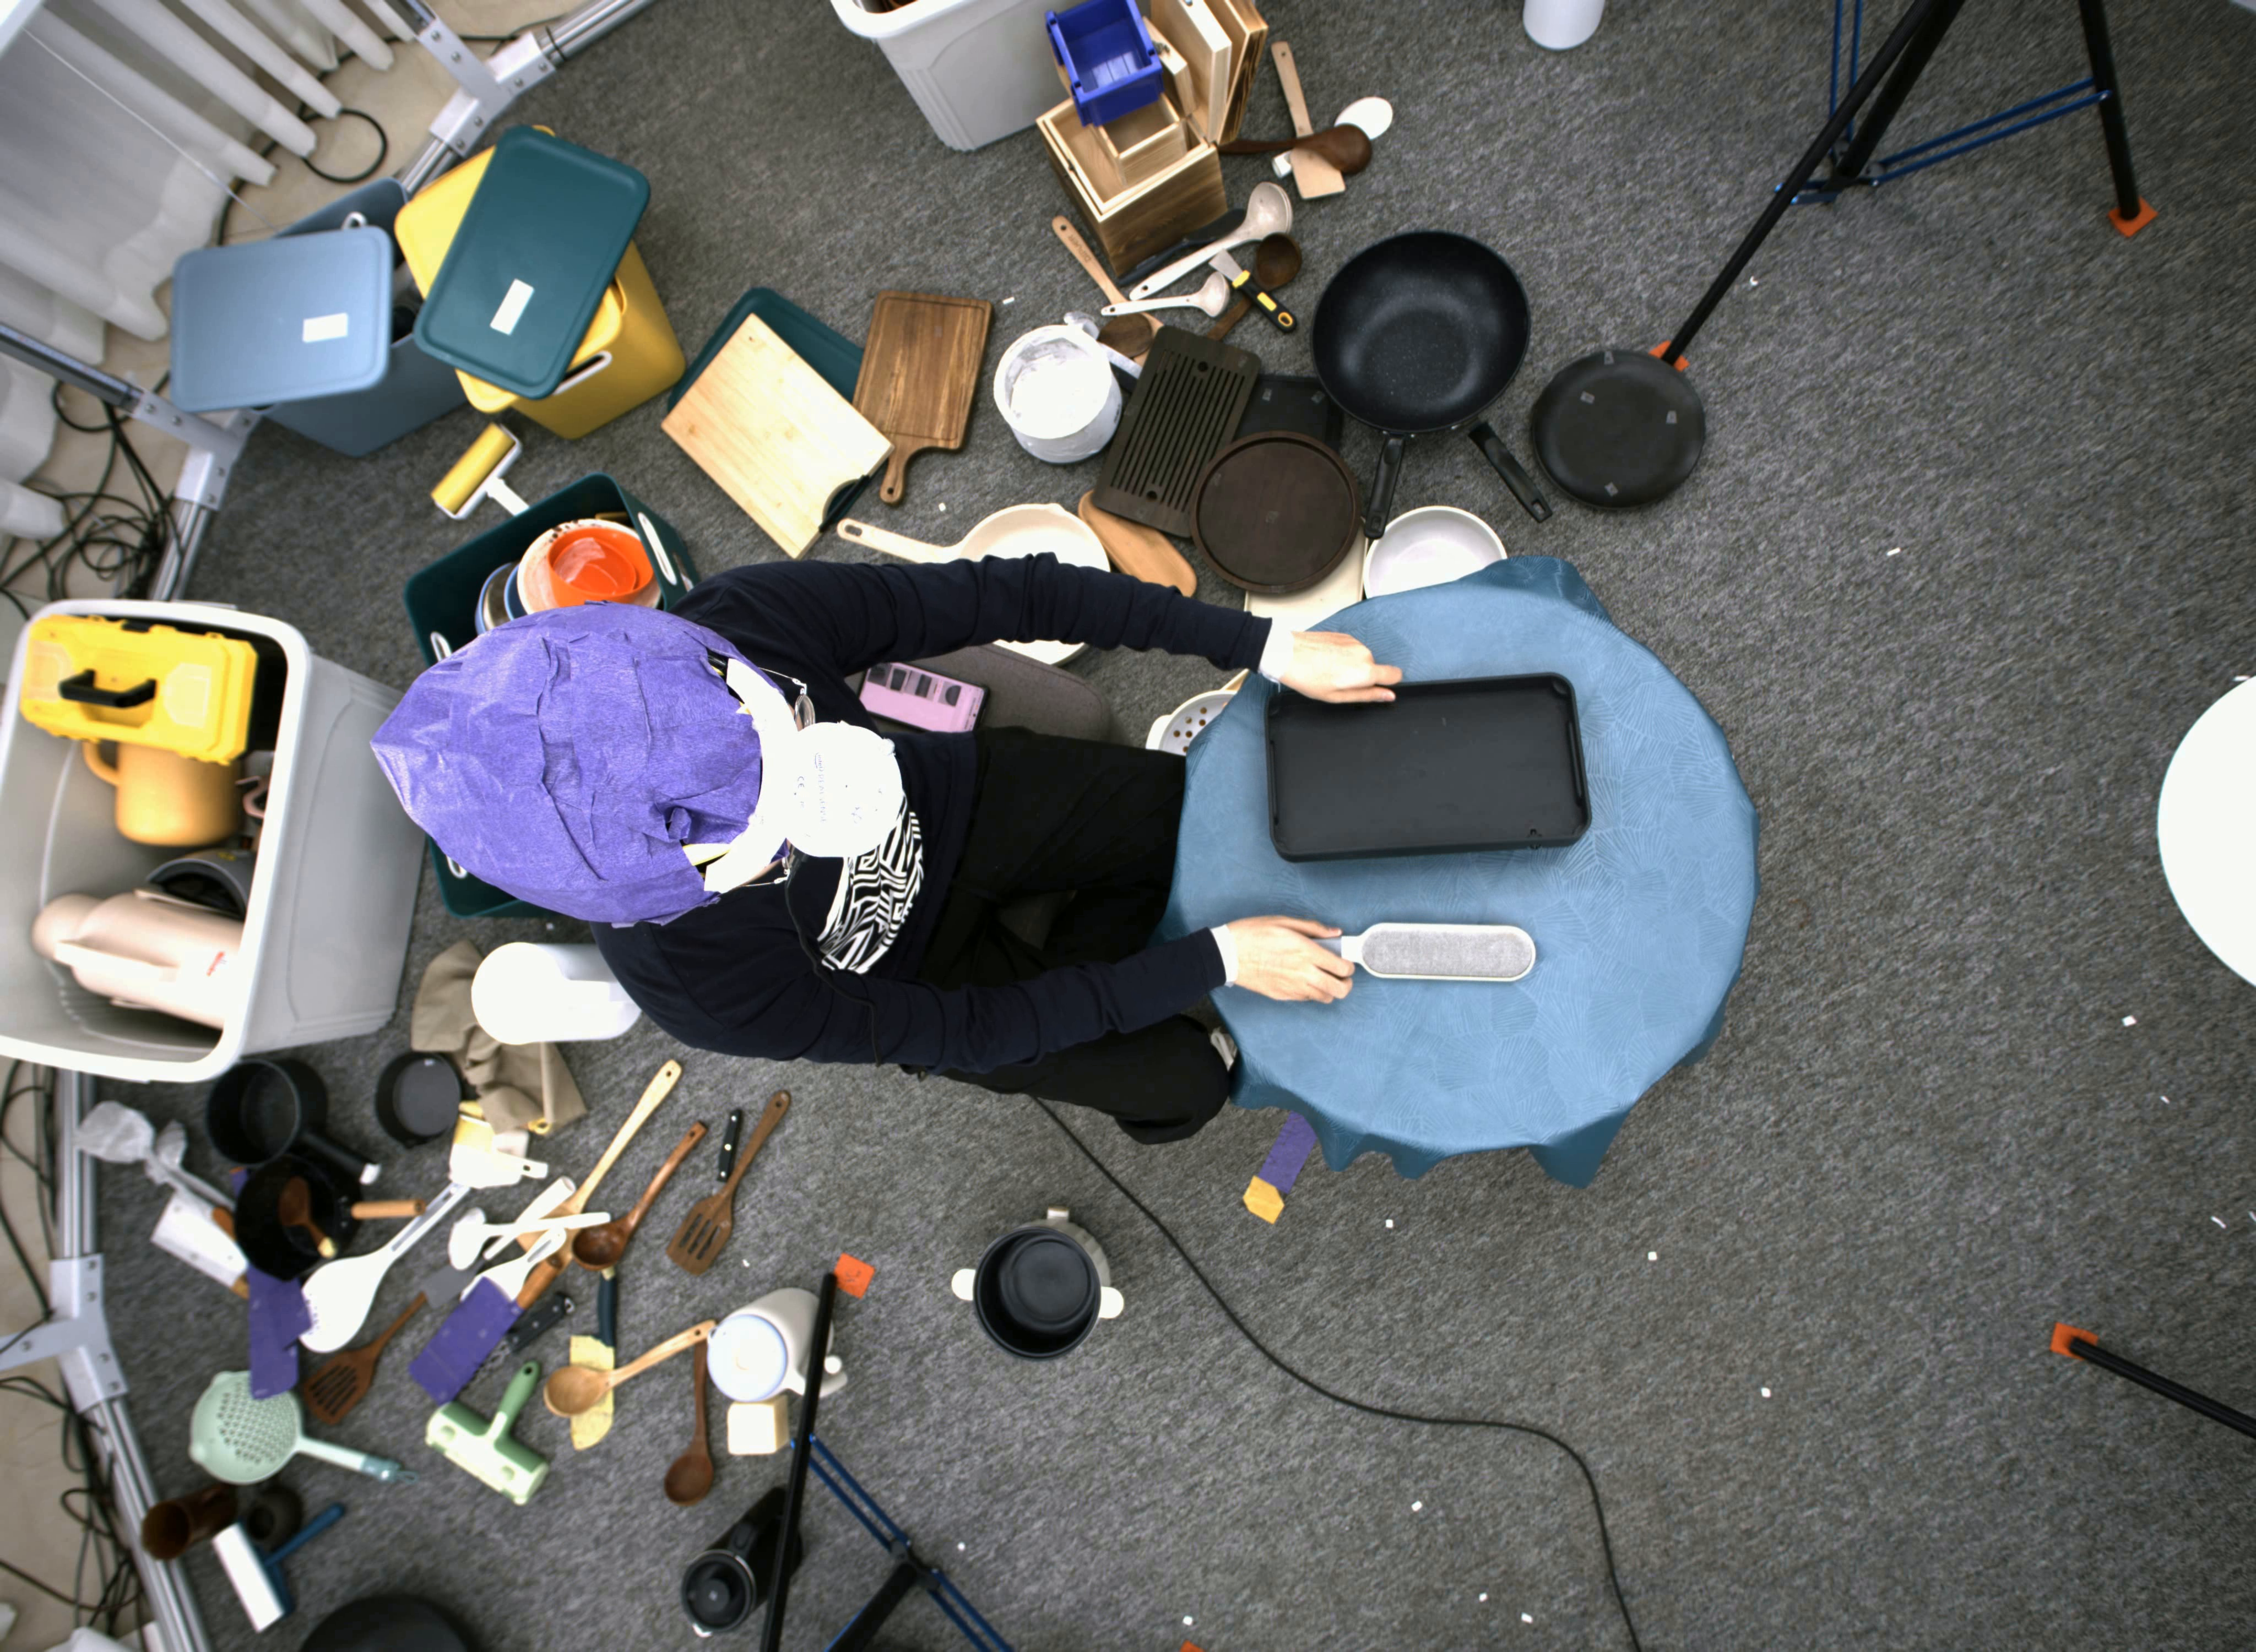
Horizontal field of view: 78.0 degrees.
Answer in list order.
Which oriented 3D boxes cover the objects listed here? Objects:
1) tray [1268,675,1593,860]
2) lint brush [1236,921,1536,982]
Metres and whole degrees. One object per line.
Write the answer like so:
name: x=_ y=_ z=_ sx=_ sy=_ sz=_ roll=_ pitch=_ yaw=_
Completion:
tray: x=0.306 y=-0.060 z=1.413 sx=0.319 sy=0.037 sz=0.181 roll=-2 pitch=74 yaw=9
lint brush: x=0.267 y=0.126 z=1.438 sx=0.310 sy=0.020 sz=0.060 roll=1 pitch=101 yaw=9
